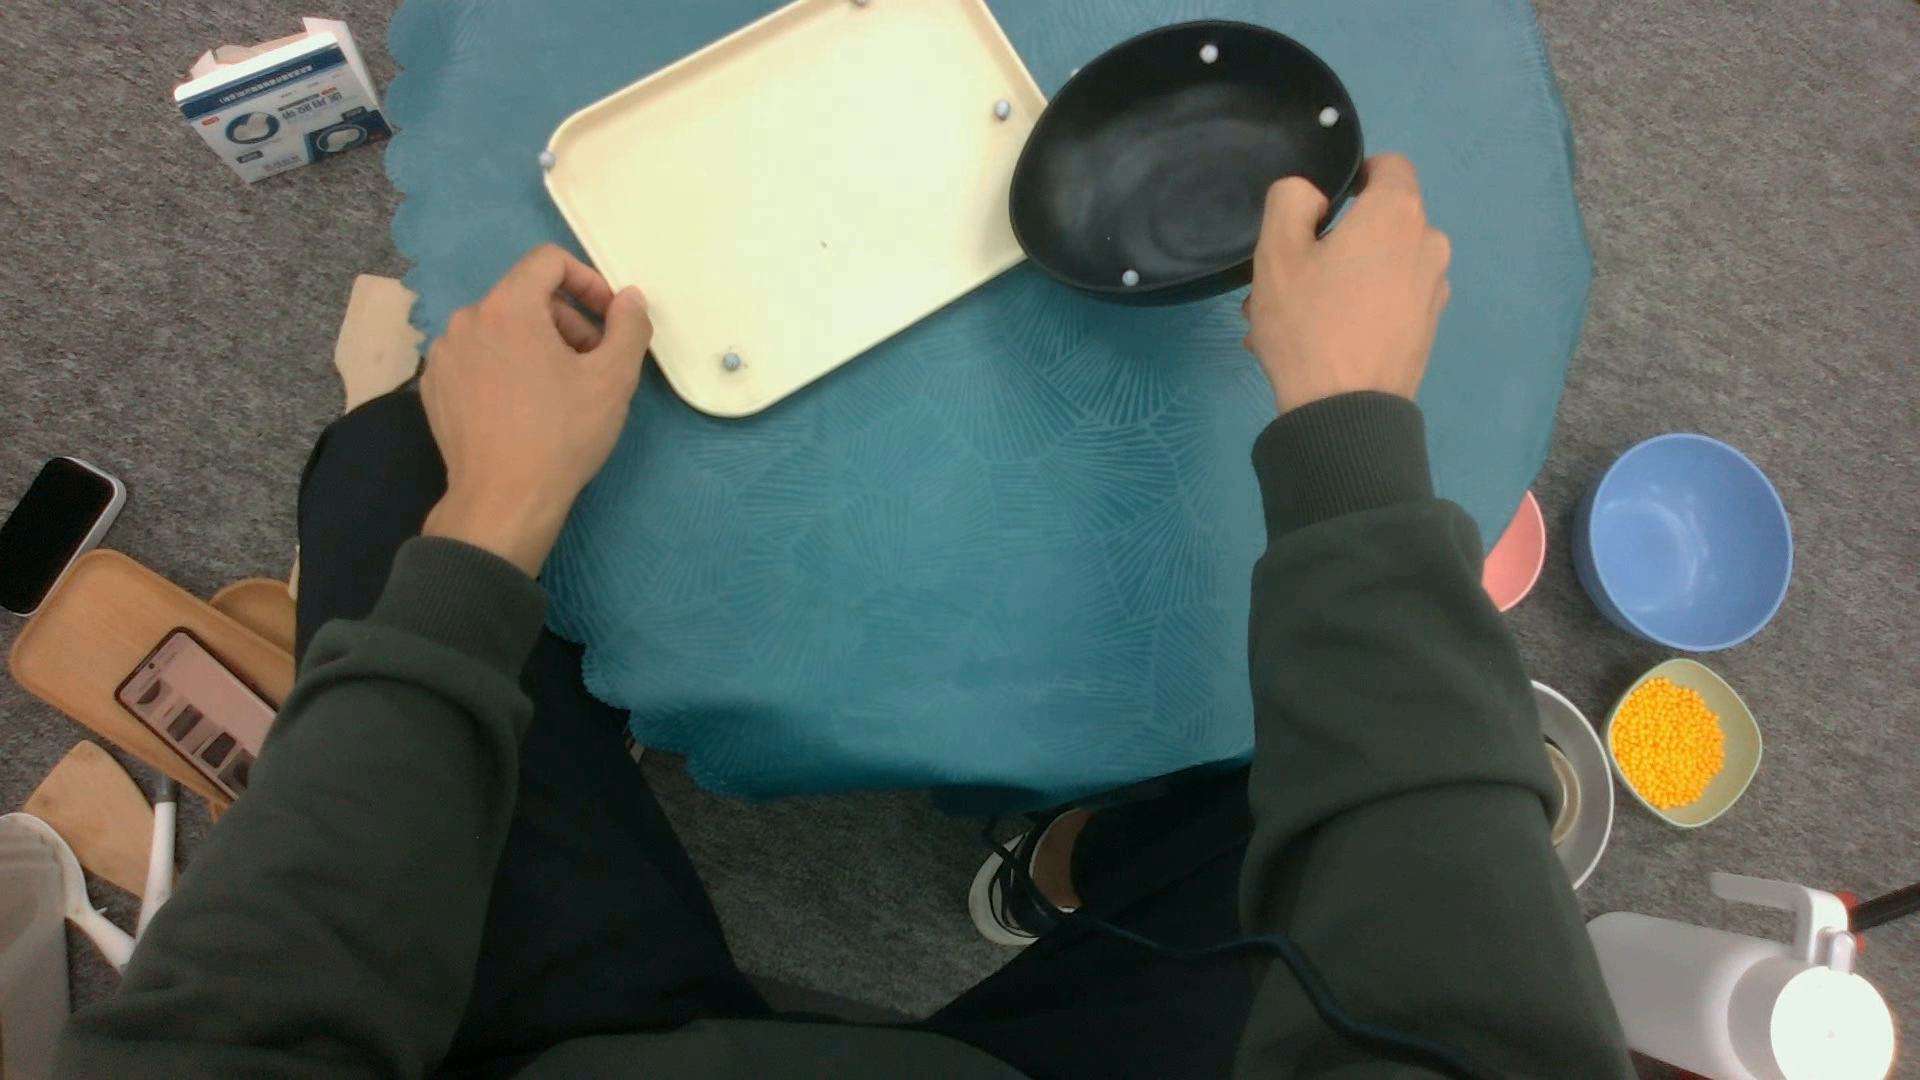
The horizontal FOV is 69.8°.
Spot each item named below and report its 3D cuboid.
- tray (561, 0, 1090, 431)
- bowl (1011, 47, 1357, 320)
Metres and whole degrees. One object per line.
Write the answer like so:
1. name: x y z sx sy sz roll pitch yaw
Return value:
1. tray: -0.066 -0.175 0.705 0.240 0.017 0.171 -32 87 -11
2. bowl: 0.112 -0.164 0.670 0.170 0.066 0.137 0 74 30
